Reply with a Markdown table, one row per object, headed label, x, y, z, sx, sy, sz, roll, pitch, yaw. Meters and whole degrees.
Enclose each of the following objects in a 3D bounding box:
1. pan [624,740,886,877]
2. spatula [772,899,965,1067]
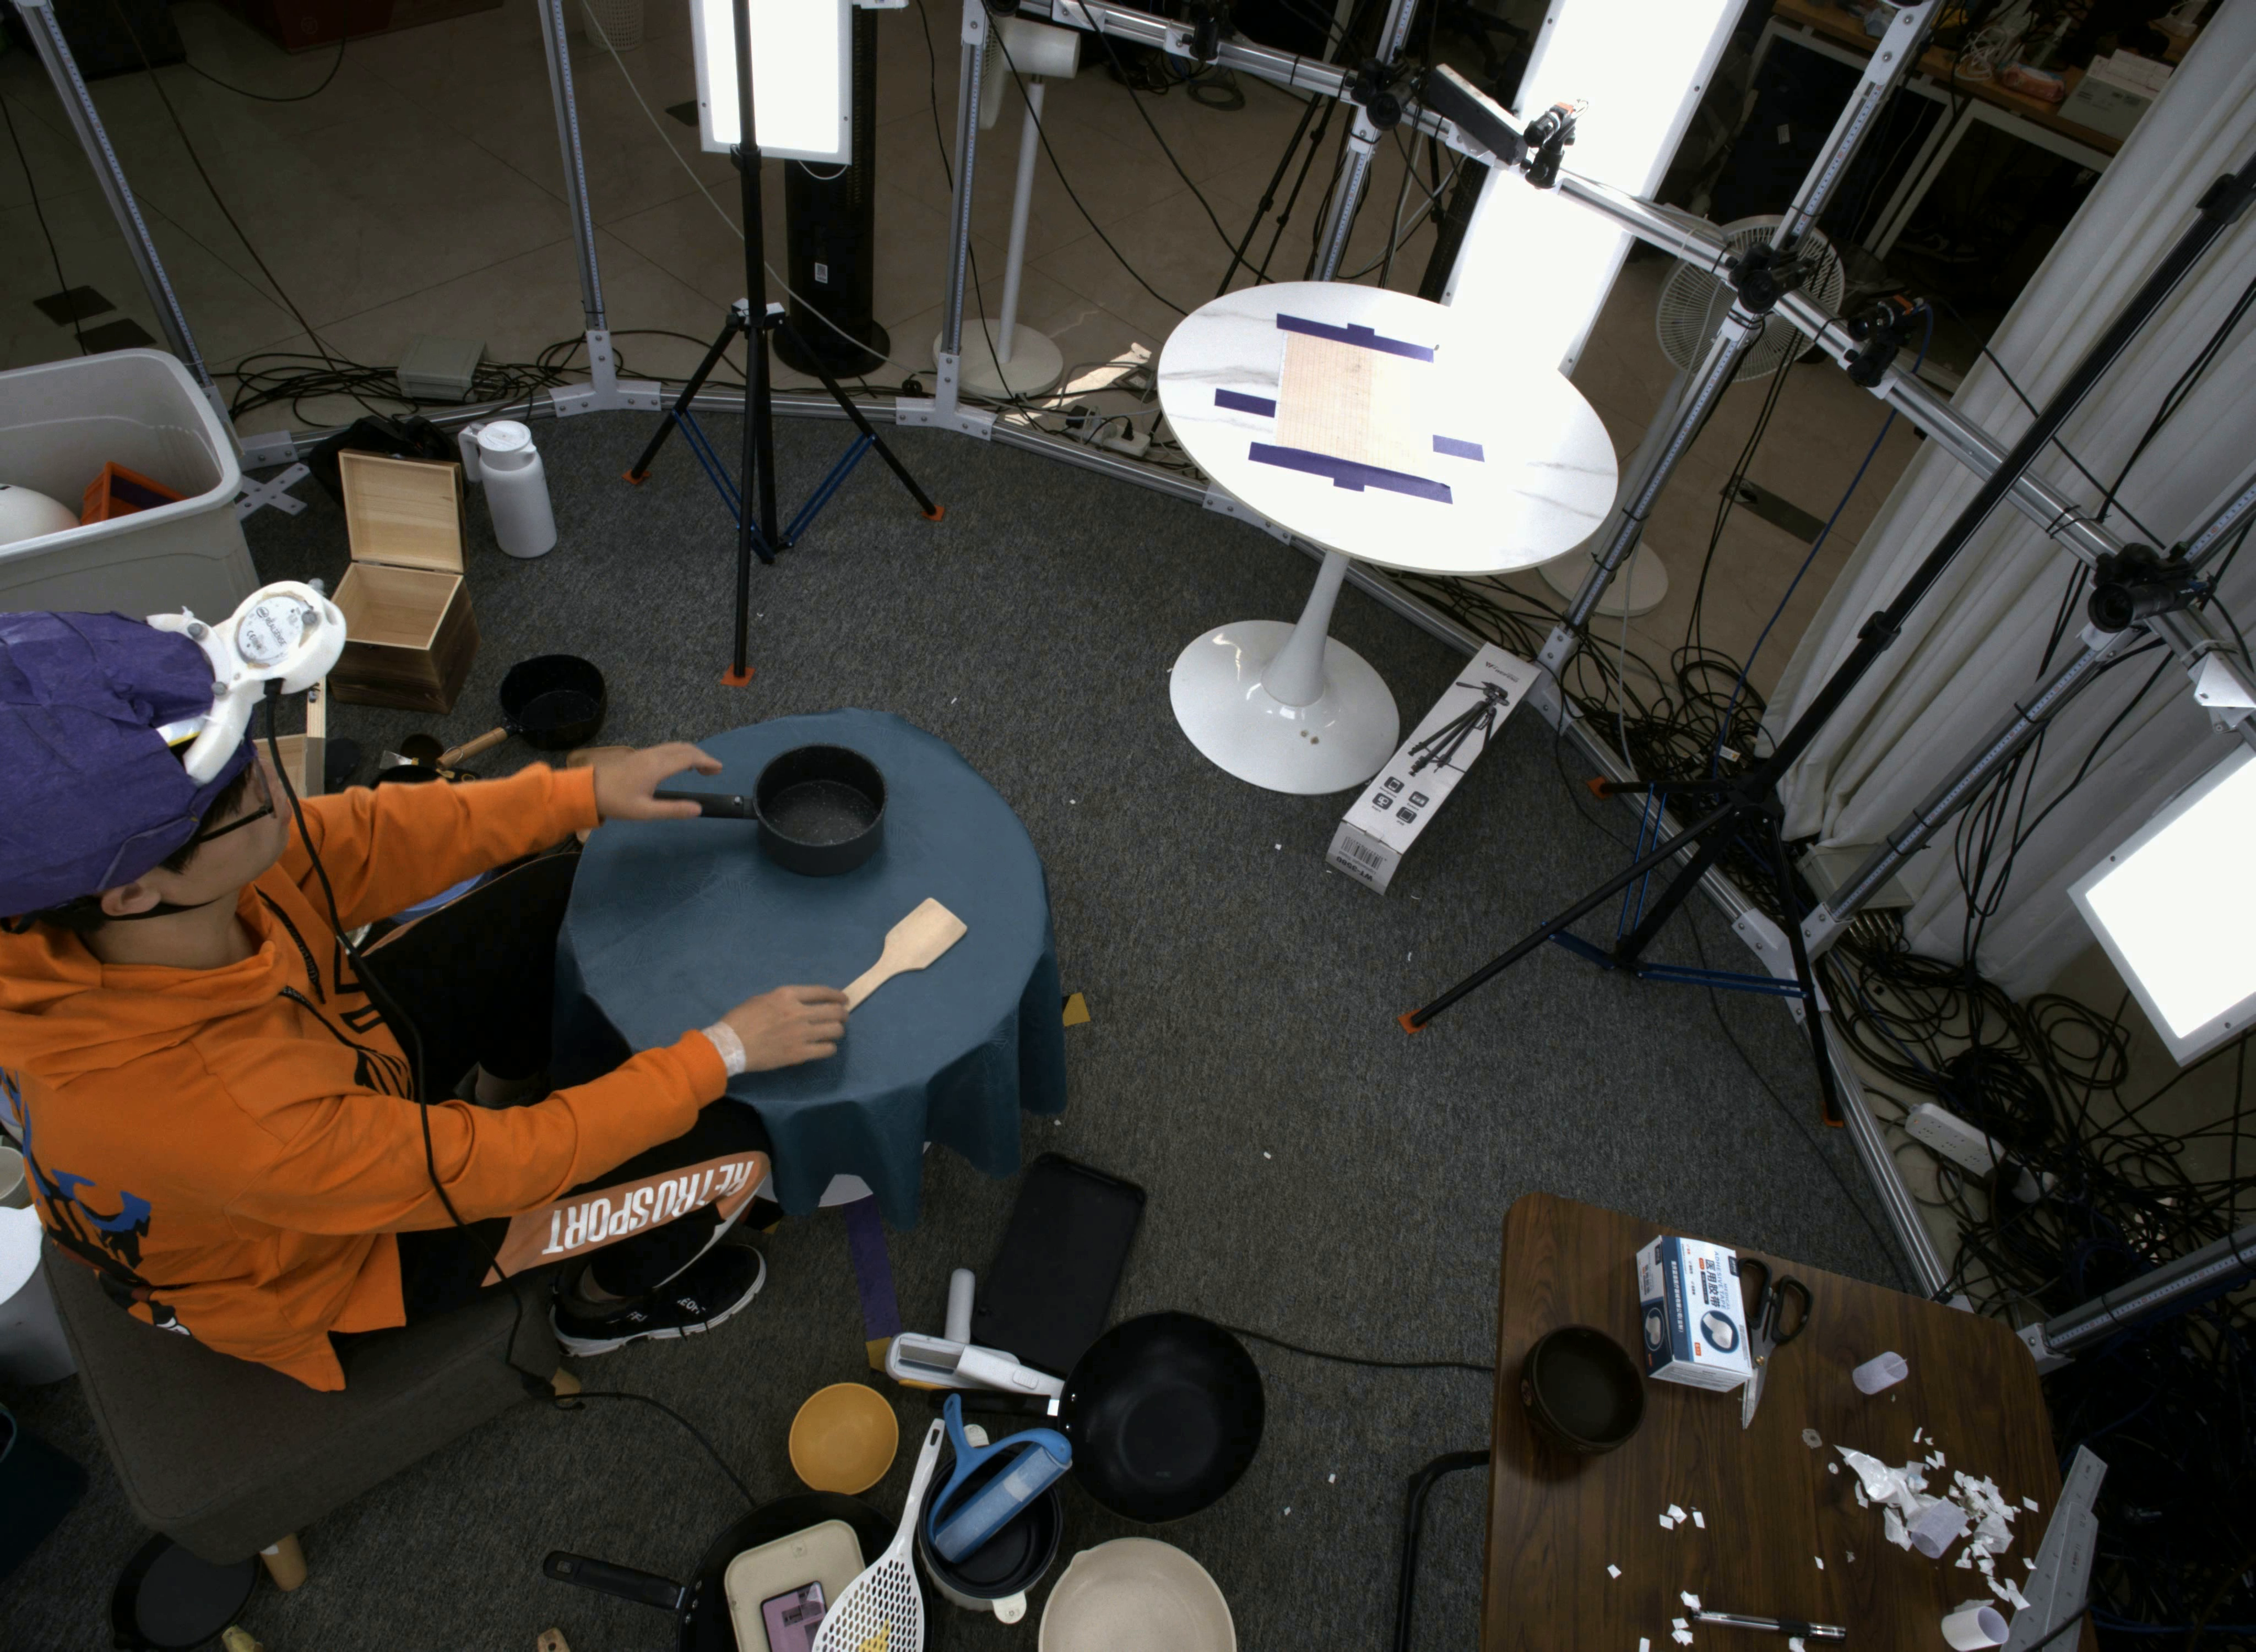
| label | x | y | z | sx | sy | sz | roll | pitch | yaw |
| --- | --- | --- | --- | --- | --- | --- | --- | --- | --- |
| pan | -0.478 | -0.022 | 1.662 | 0.330 | 0.088 | 0.168 | 0 | 53 | -17 |
| spatula | -0.320 | 0.193 | 1.591 | 0.071 | 0.011 | 0.293 | 40 | 54 | 11 |
